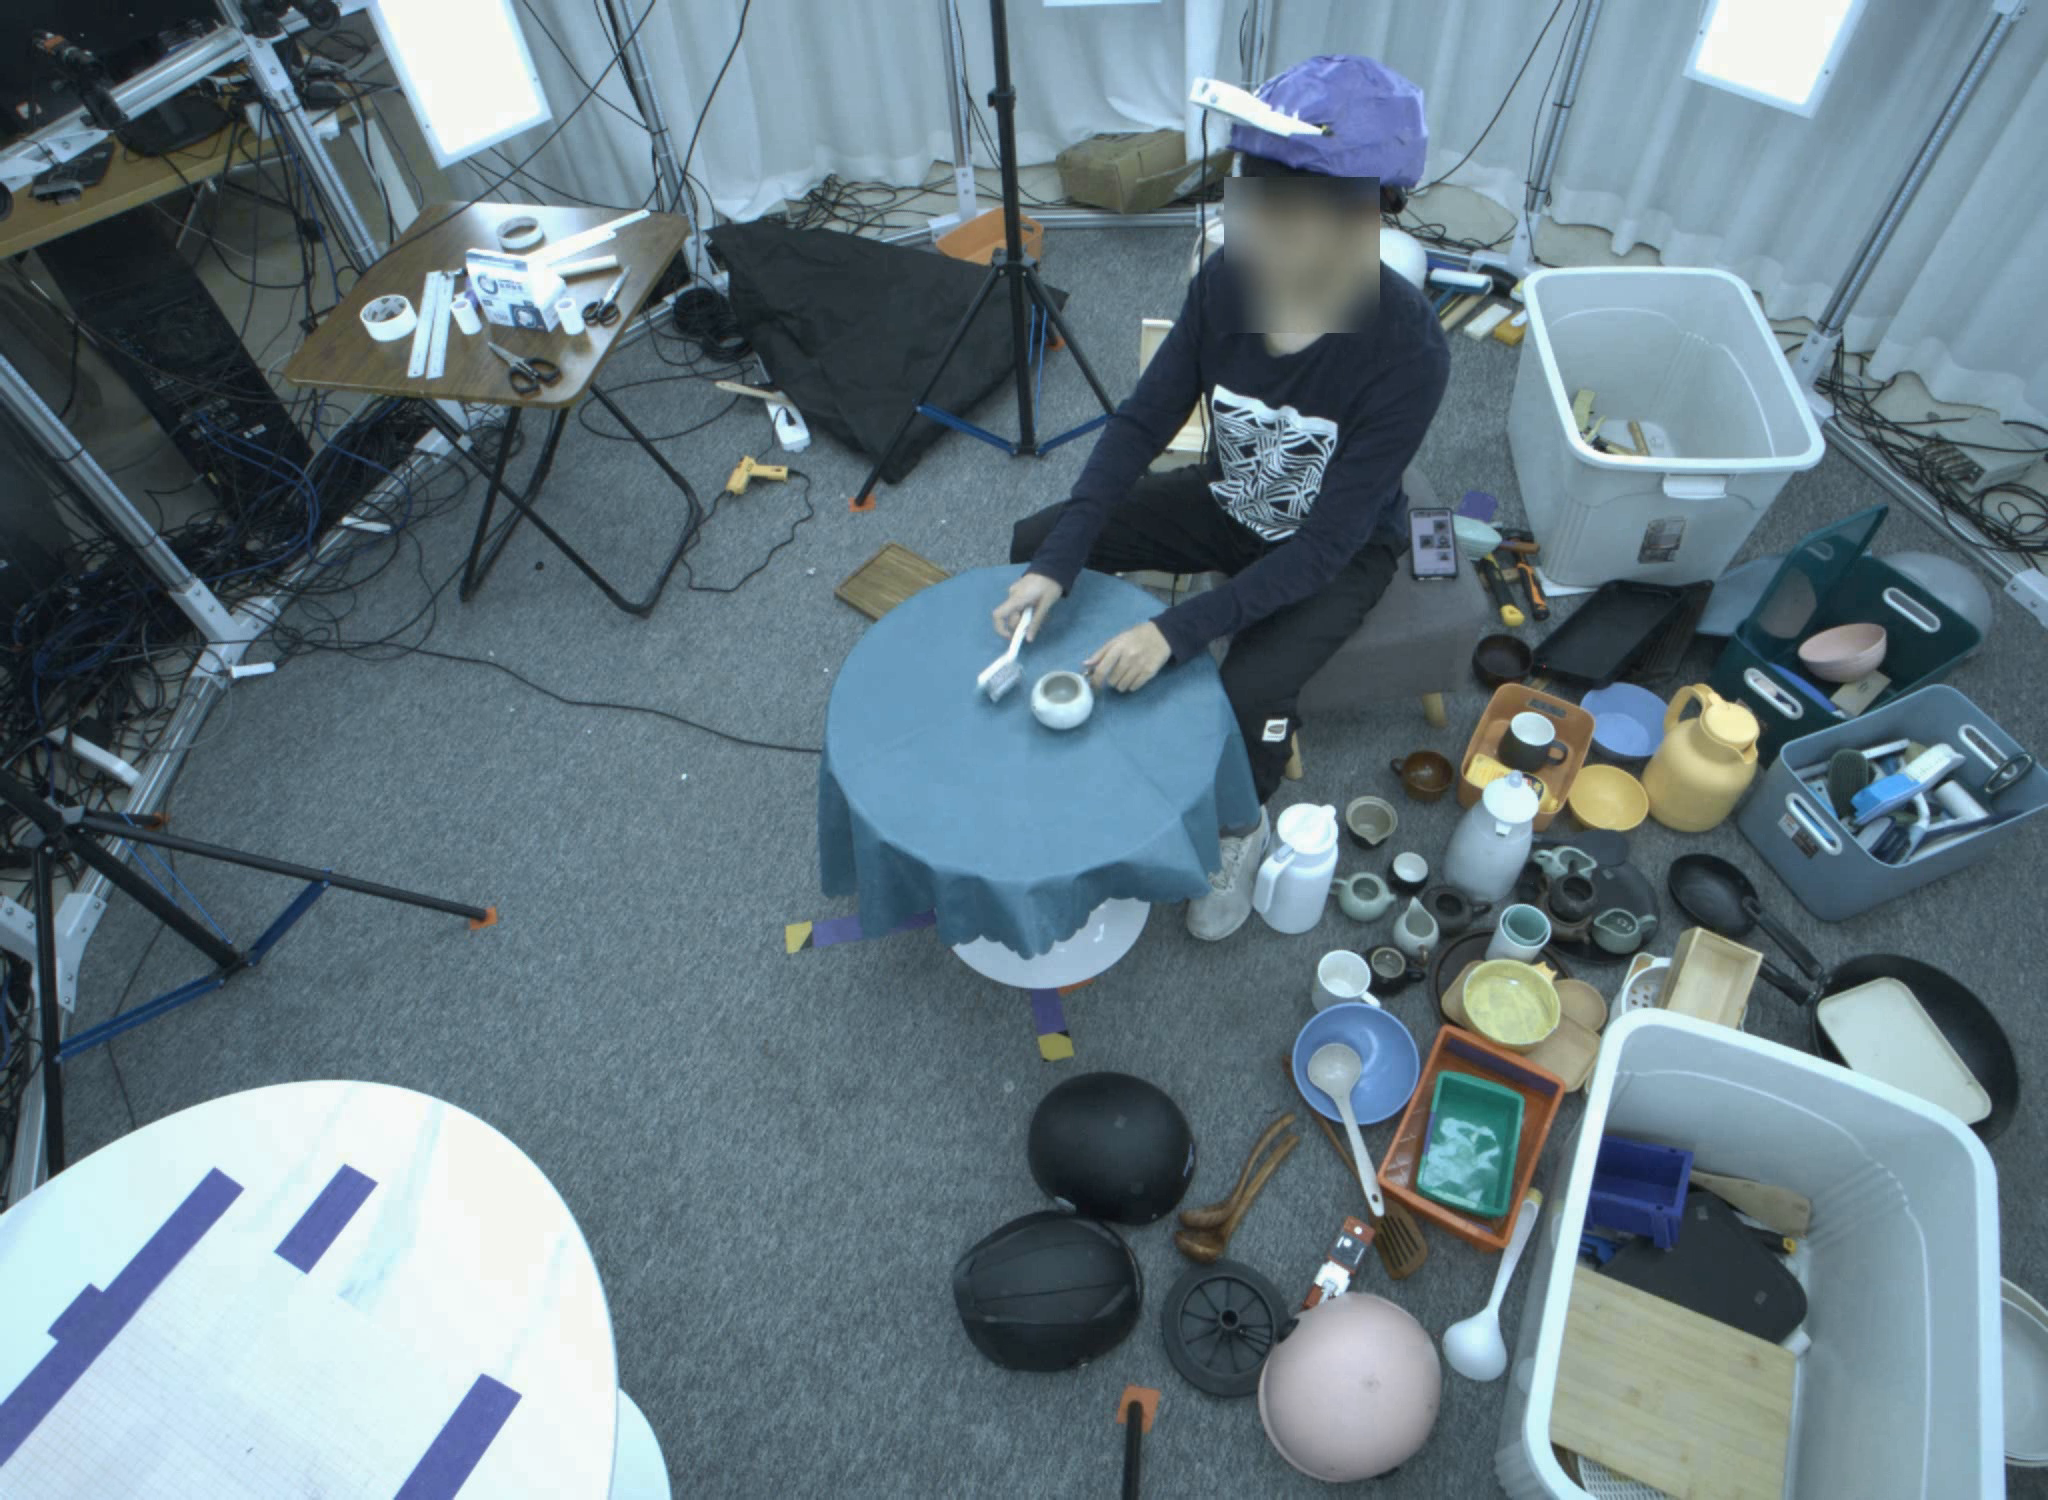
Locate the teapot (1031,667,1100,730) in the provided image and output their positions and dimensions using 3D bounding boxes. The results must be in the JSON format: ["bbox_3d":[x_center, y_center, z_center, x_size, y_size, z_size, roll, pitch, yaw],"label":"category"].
[{"bbox_3d":[0.063,-0.077,1.798,0.129,0.060,0.090,-37,58,-21],"label":"teapot"}]

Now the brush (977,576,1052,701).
[{"bbox_3d":[0.002,-0.173,1.867,0.049,0.035,0.244,19,58,22],"label":"brush"}]
